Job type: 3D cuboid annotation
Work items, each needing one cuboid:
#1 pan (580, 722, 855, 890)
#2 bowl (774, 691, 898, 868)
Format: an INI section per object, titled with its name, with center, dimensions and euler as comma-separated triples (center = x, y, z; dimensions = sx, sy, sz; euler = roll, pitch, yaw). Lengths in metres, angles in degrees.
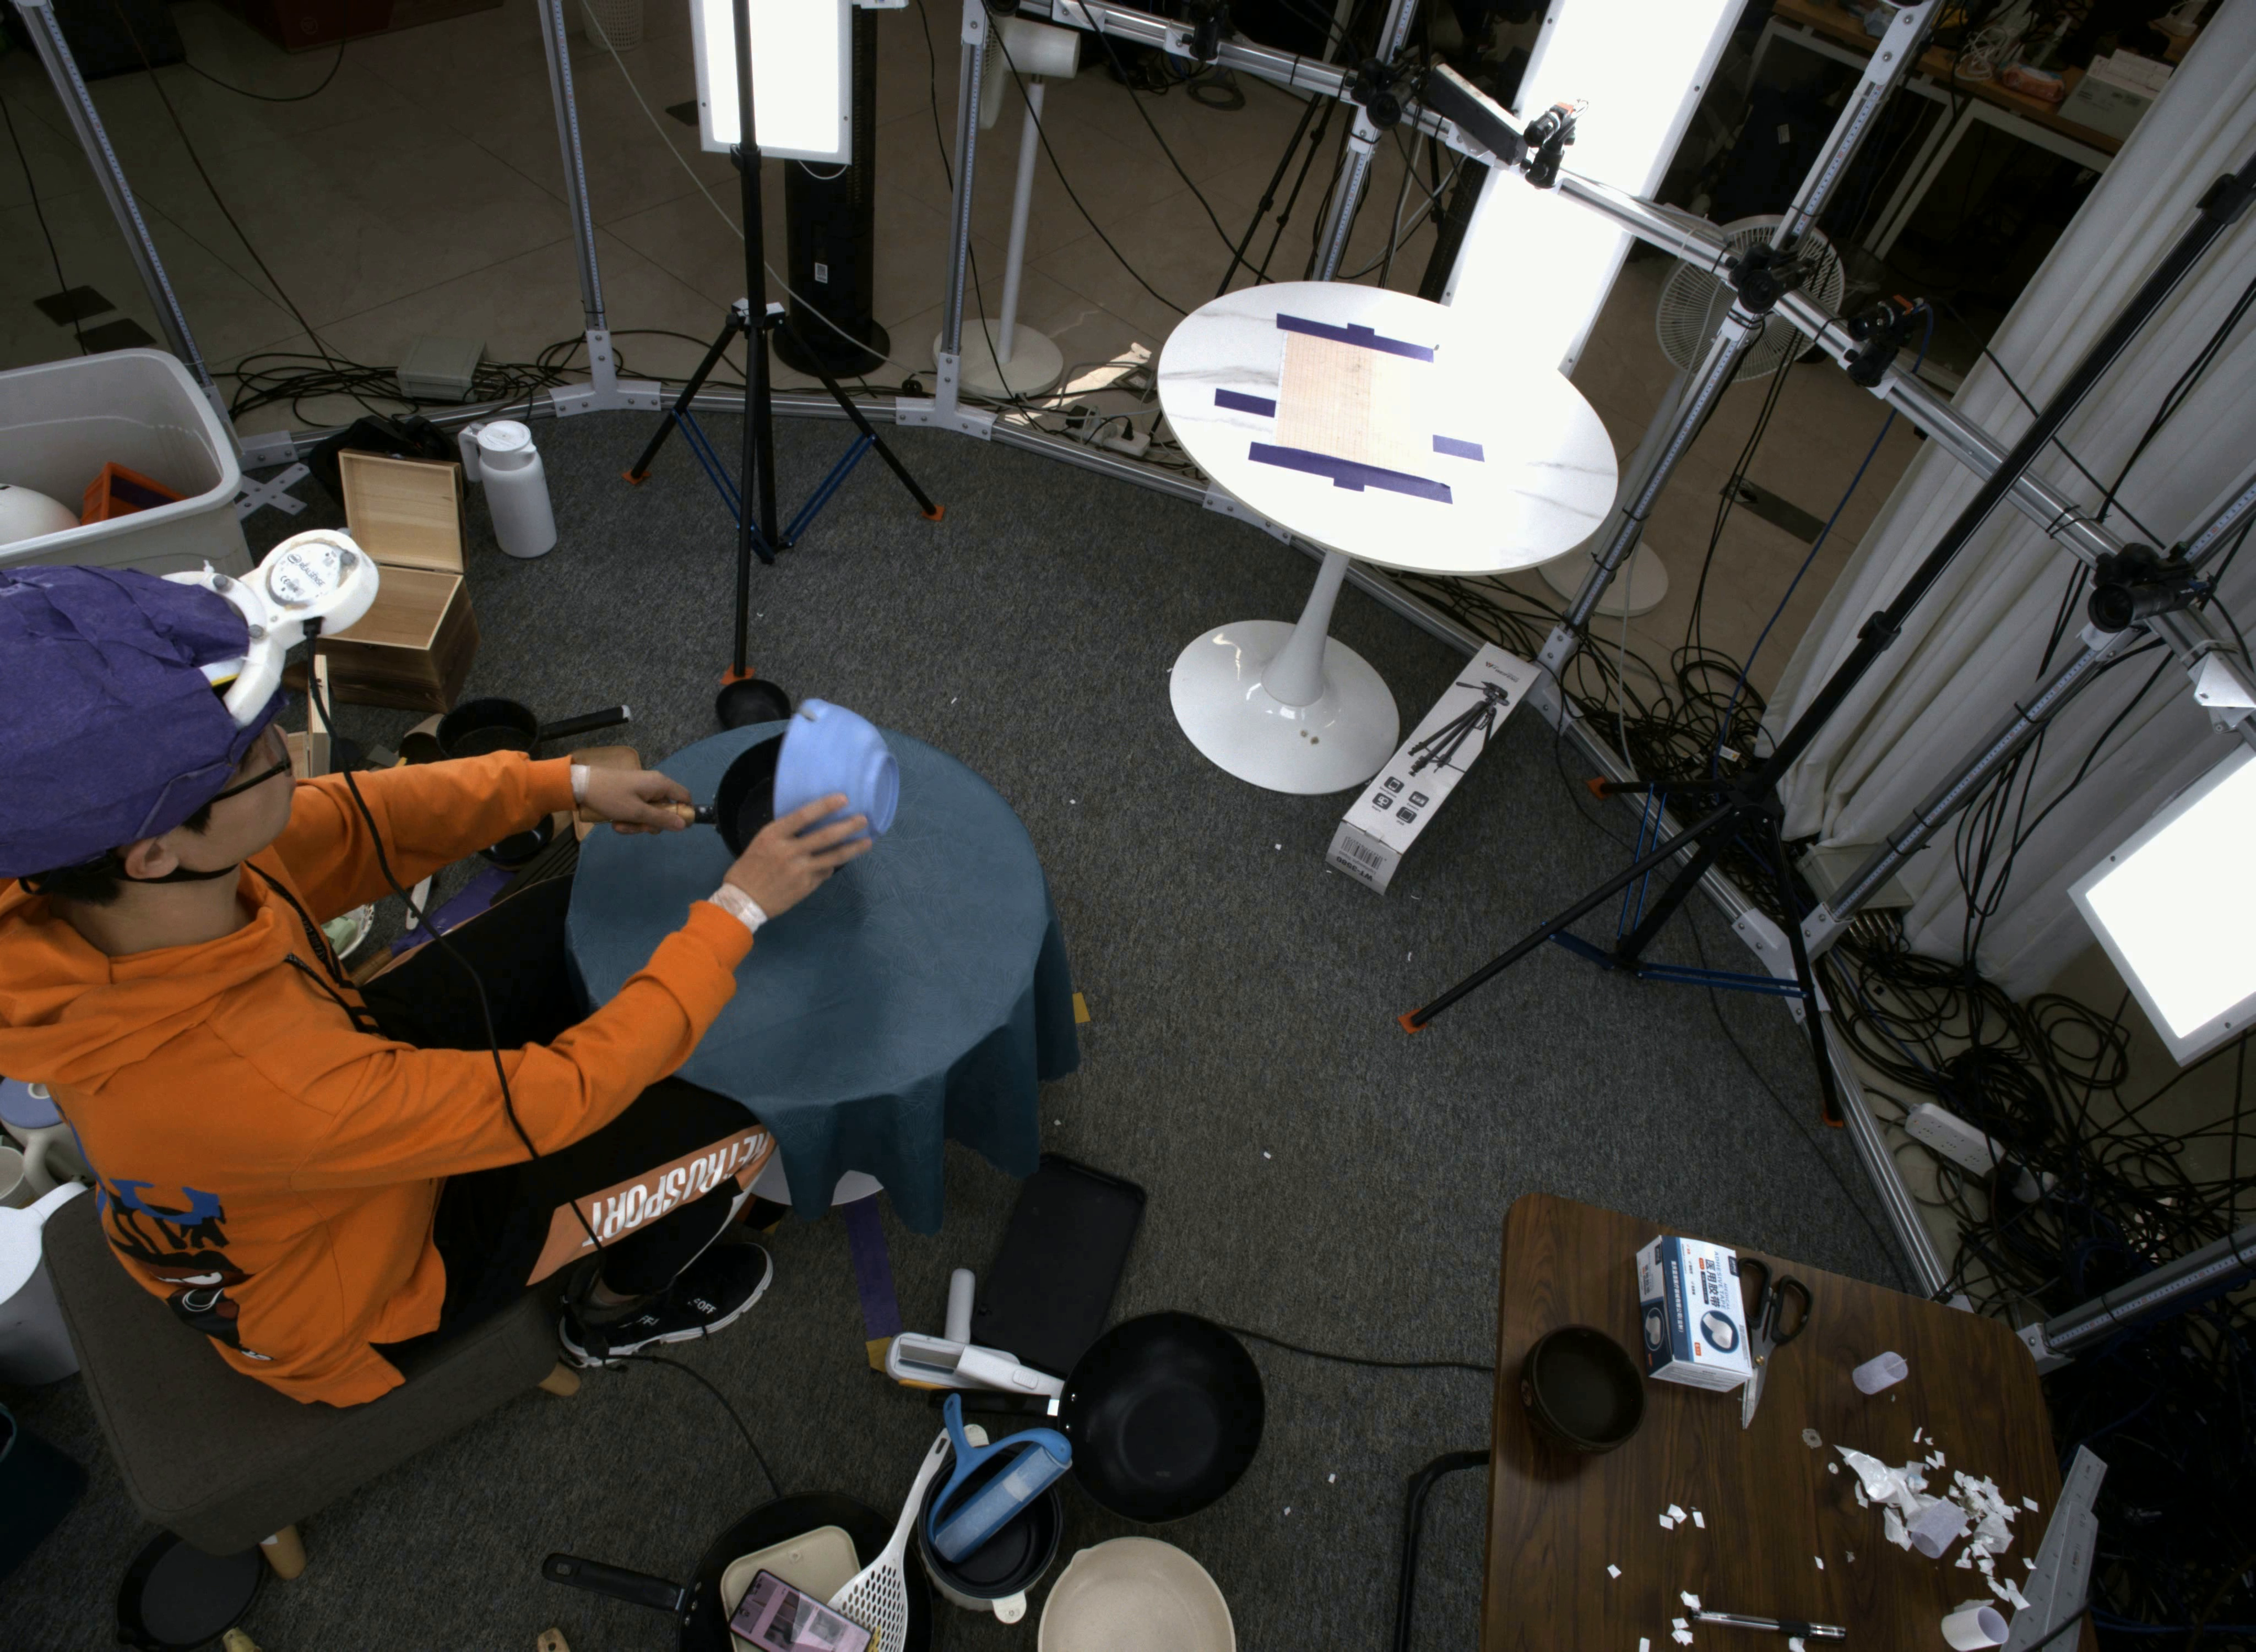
[pan]
center = -0.490, -0.014, 1.572
dimensions = 0.344, 0.108, 0.207
euler = -4, 77, -17
[bowl]
center = -0.316, -0.045, 1.451
dimensions = 0.094, 0.202, 0.194
euler = 9, 50, 4
